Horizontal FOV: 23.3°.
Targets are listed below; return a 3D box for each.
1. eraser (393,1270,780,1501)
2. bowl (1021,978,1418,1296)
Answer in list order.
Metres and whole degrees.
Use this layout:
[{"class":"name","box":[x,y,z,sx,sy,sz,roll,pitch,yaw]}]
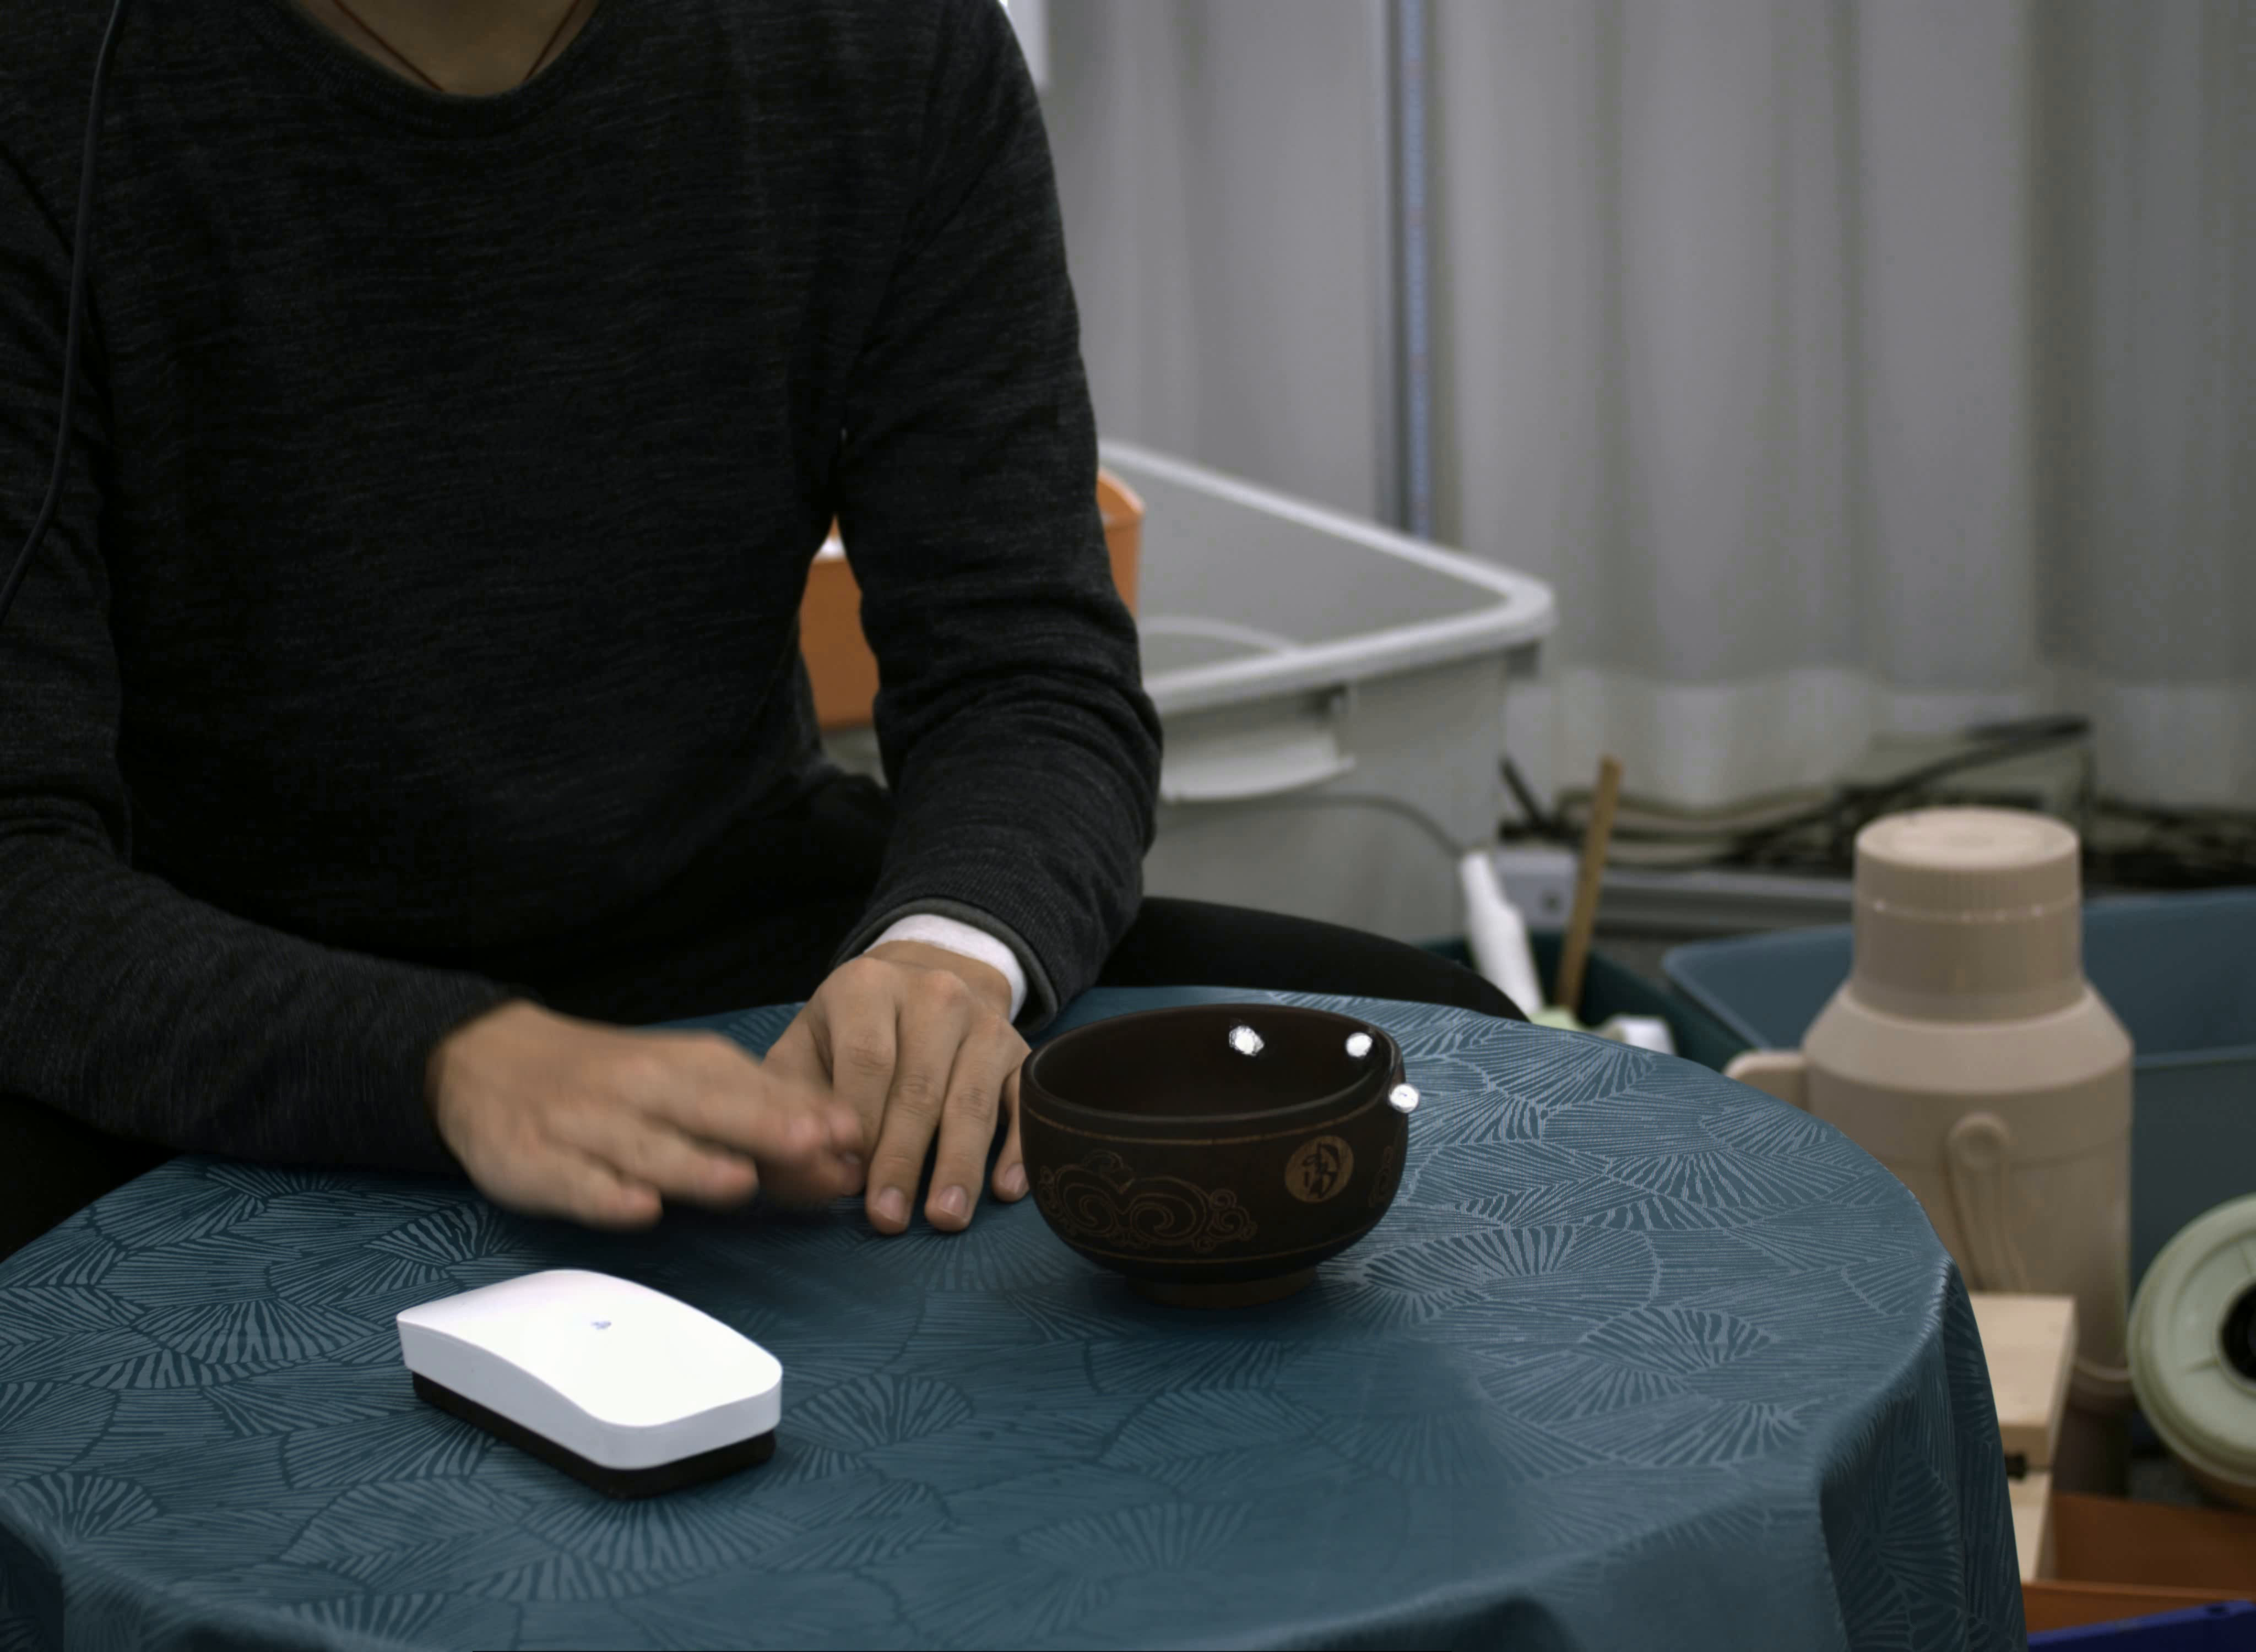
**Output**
[{"class":"eraser","box":[-0.152,0.153,1.538,0.063,0.034,0.132,-11,18,-35]},{"class":"bowl","box":[0.030,0.097,1.628,0.117,0.069,0.119,-10,16,2]}]
